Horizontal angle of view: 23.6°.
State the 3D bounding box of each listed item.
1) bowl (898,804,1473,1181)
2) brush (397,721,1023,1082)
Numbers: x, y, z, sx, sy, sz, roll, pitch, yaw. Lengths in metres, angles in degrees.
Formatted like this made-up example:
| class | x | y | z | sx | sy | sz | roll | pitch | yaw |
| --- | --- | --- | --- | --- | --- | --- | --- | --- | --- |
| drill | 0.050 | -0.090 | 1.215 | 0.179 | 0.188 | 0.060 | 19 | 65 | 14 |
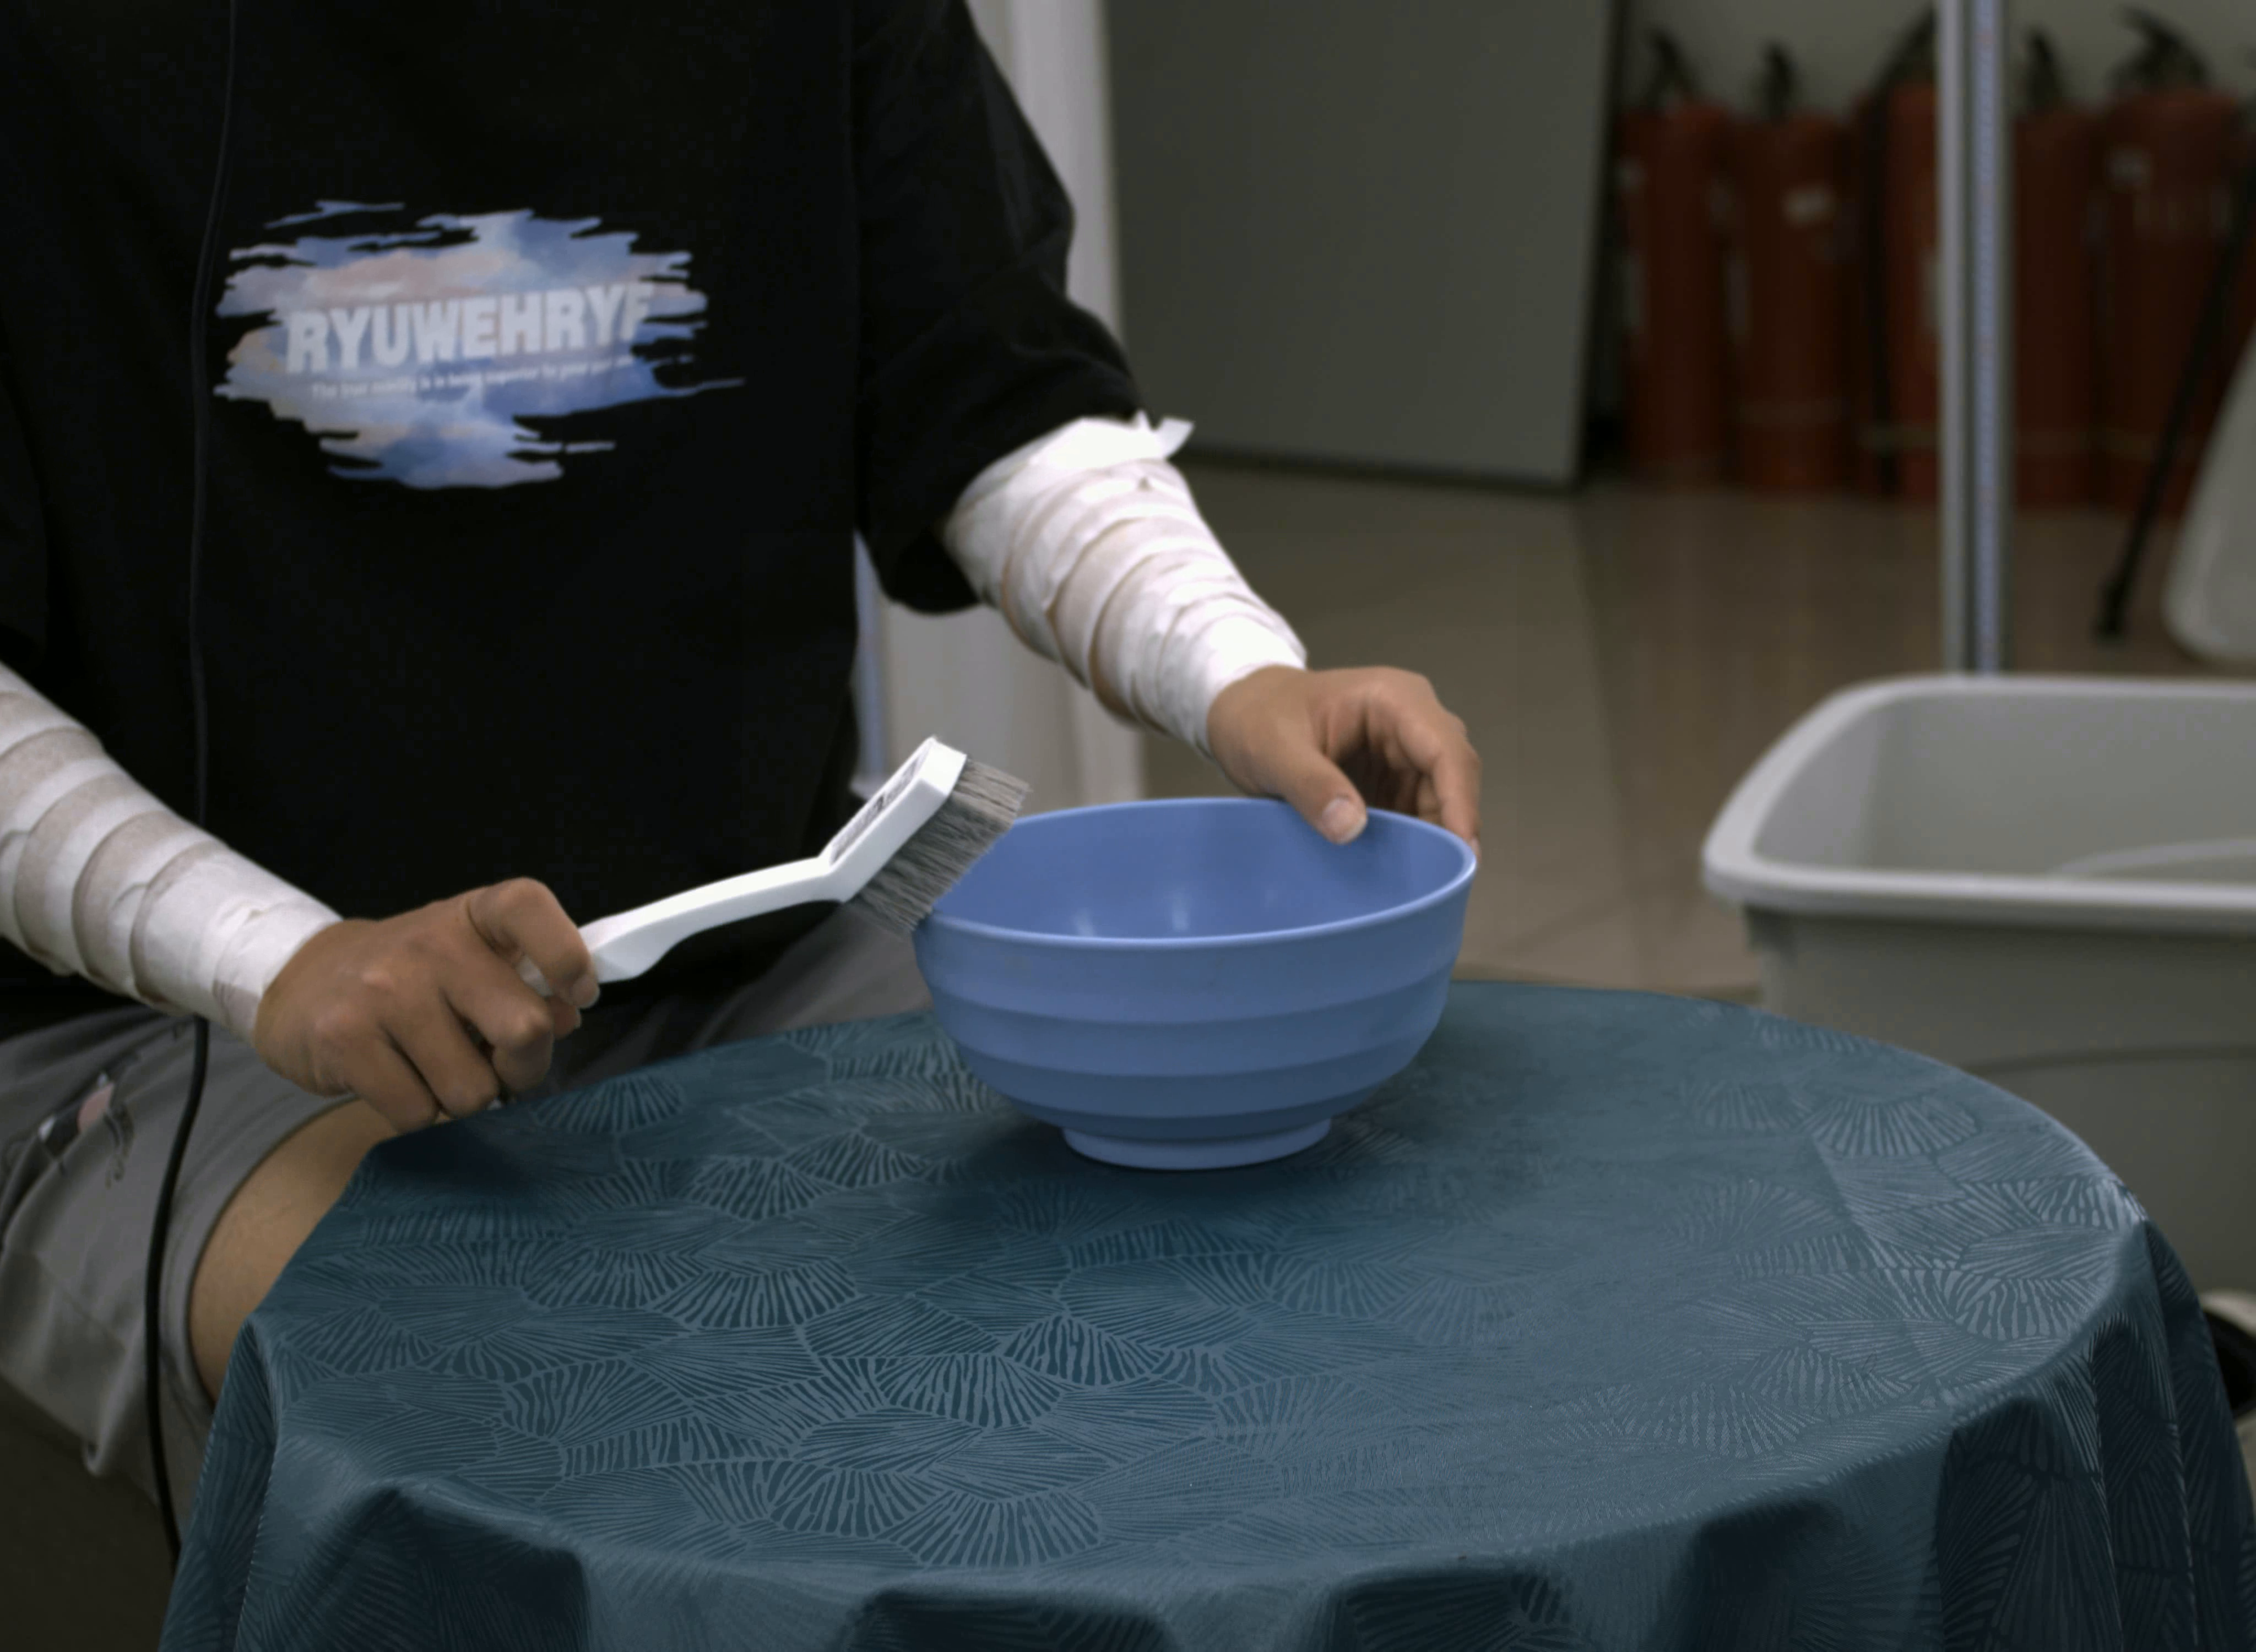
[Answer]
| class | x | y | z | sx | sy | sz | roll | pitch | yaw |
| --- | --- | --- | --- | --- | --- | --- | --- | --- | --- |
| bowl | 0.023 | 0.061 | 1.819 | 0.194 | 0.096 | 0.197 | -5 | 13 | 0 |
| brush | -0.138 | 0.040 | 1.796 | 0.244 | 0.050 | 0.034 | -30 | 20 | 21 |
